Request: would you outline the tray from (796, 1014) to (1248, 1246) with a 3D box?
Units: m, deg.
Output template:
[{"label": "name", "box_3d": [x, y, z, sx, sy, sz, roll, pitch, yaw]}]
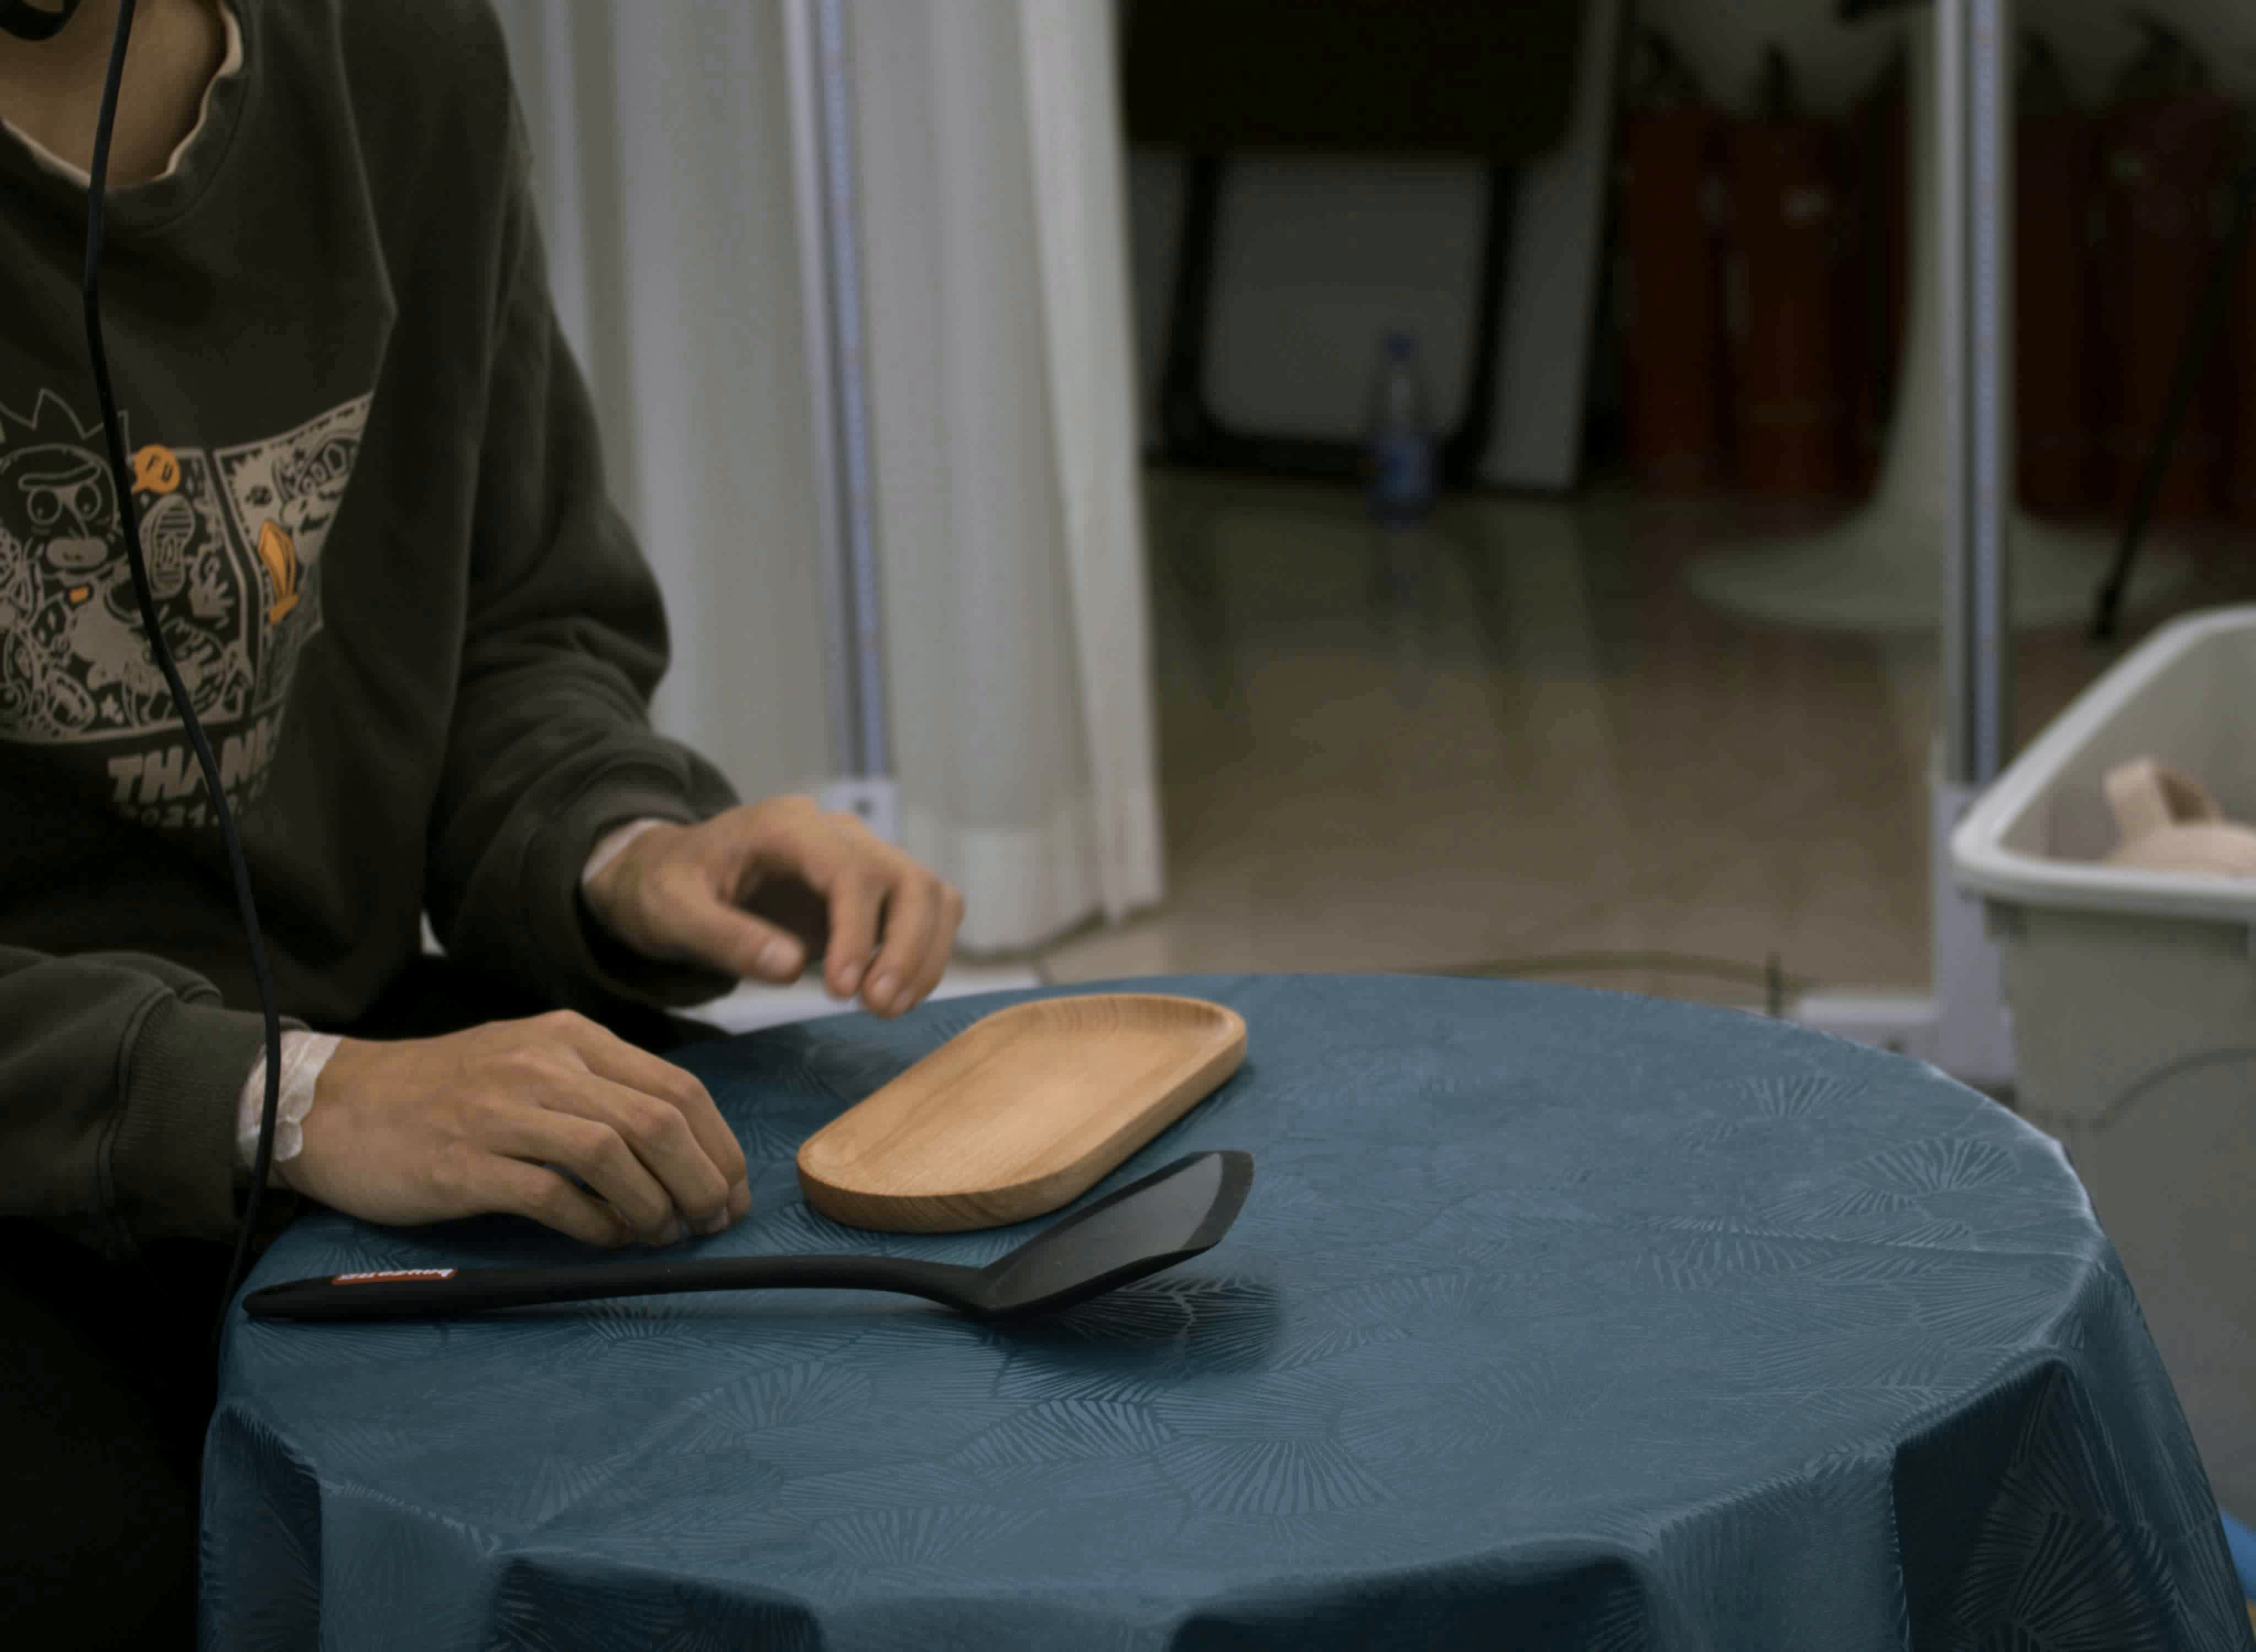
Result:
[{"label": "tray", "box_3d": [-0.033, 0.102, 1.838, 0.102, 0.020, 0.228, 2, 16, 24]}]

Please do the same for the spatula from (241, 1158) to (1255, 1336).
[{"label": "spatula", "box_3d": [-0.120, 0.136, 1.675, 0.324, 0.041, 0.099, -2, 12, 10]}]
